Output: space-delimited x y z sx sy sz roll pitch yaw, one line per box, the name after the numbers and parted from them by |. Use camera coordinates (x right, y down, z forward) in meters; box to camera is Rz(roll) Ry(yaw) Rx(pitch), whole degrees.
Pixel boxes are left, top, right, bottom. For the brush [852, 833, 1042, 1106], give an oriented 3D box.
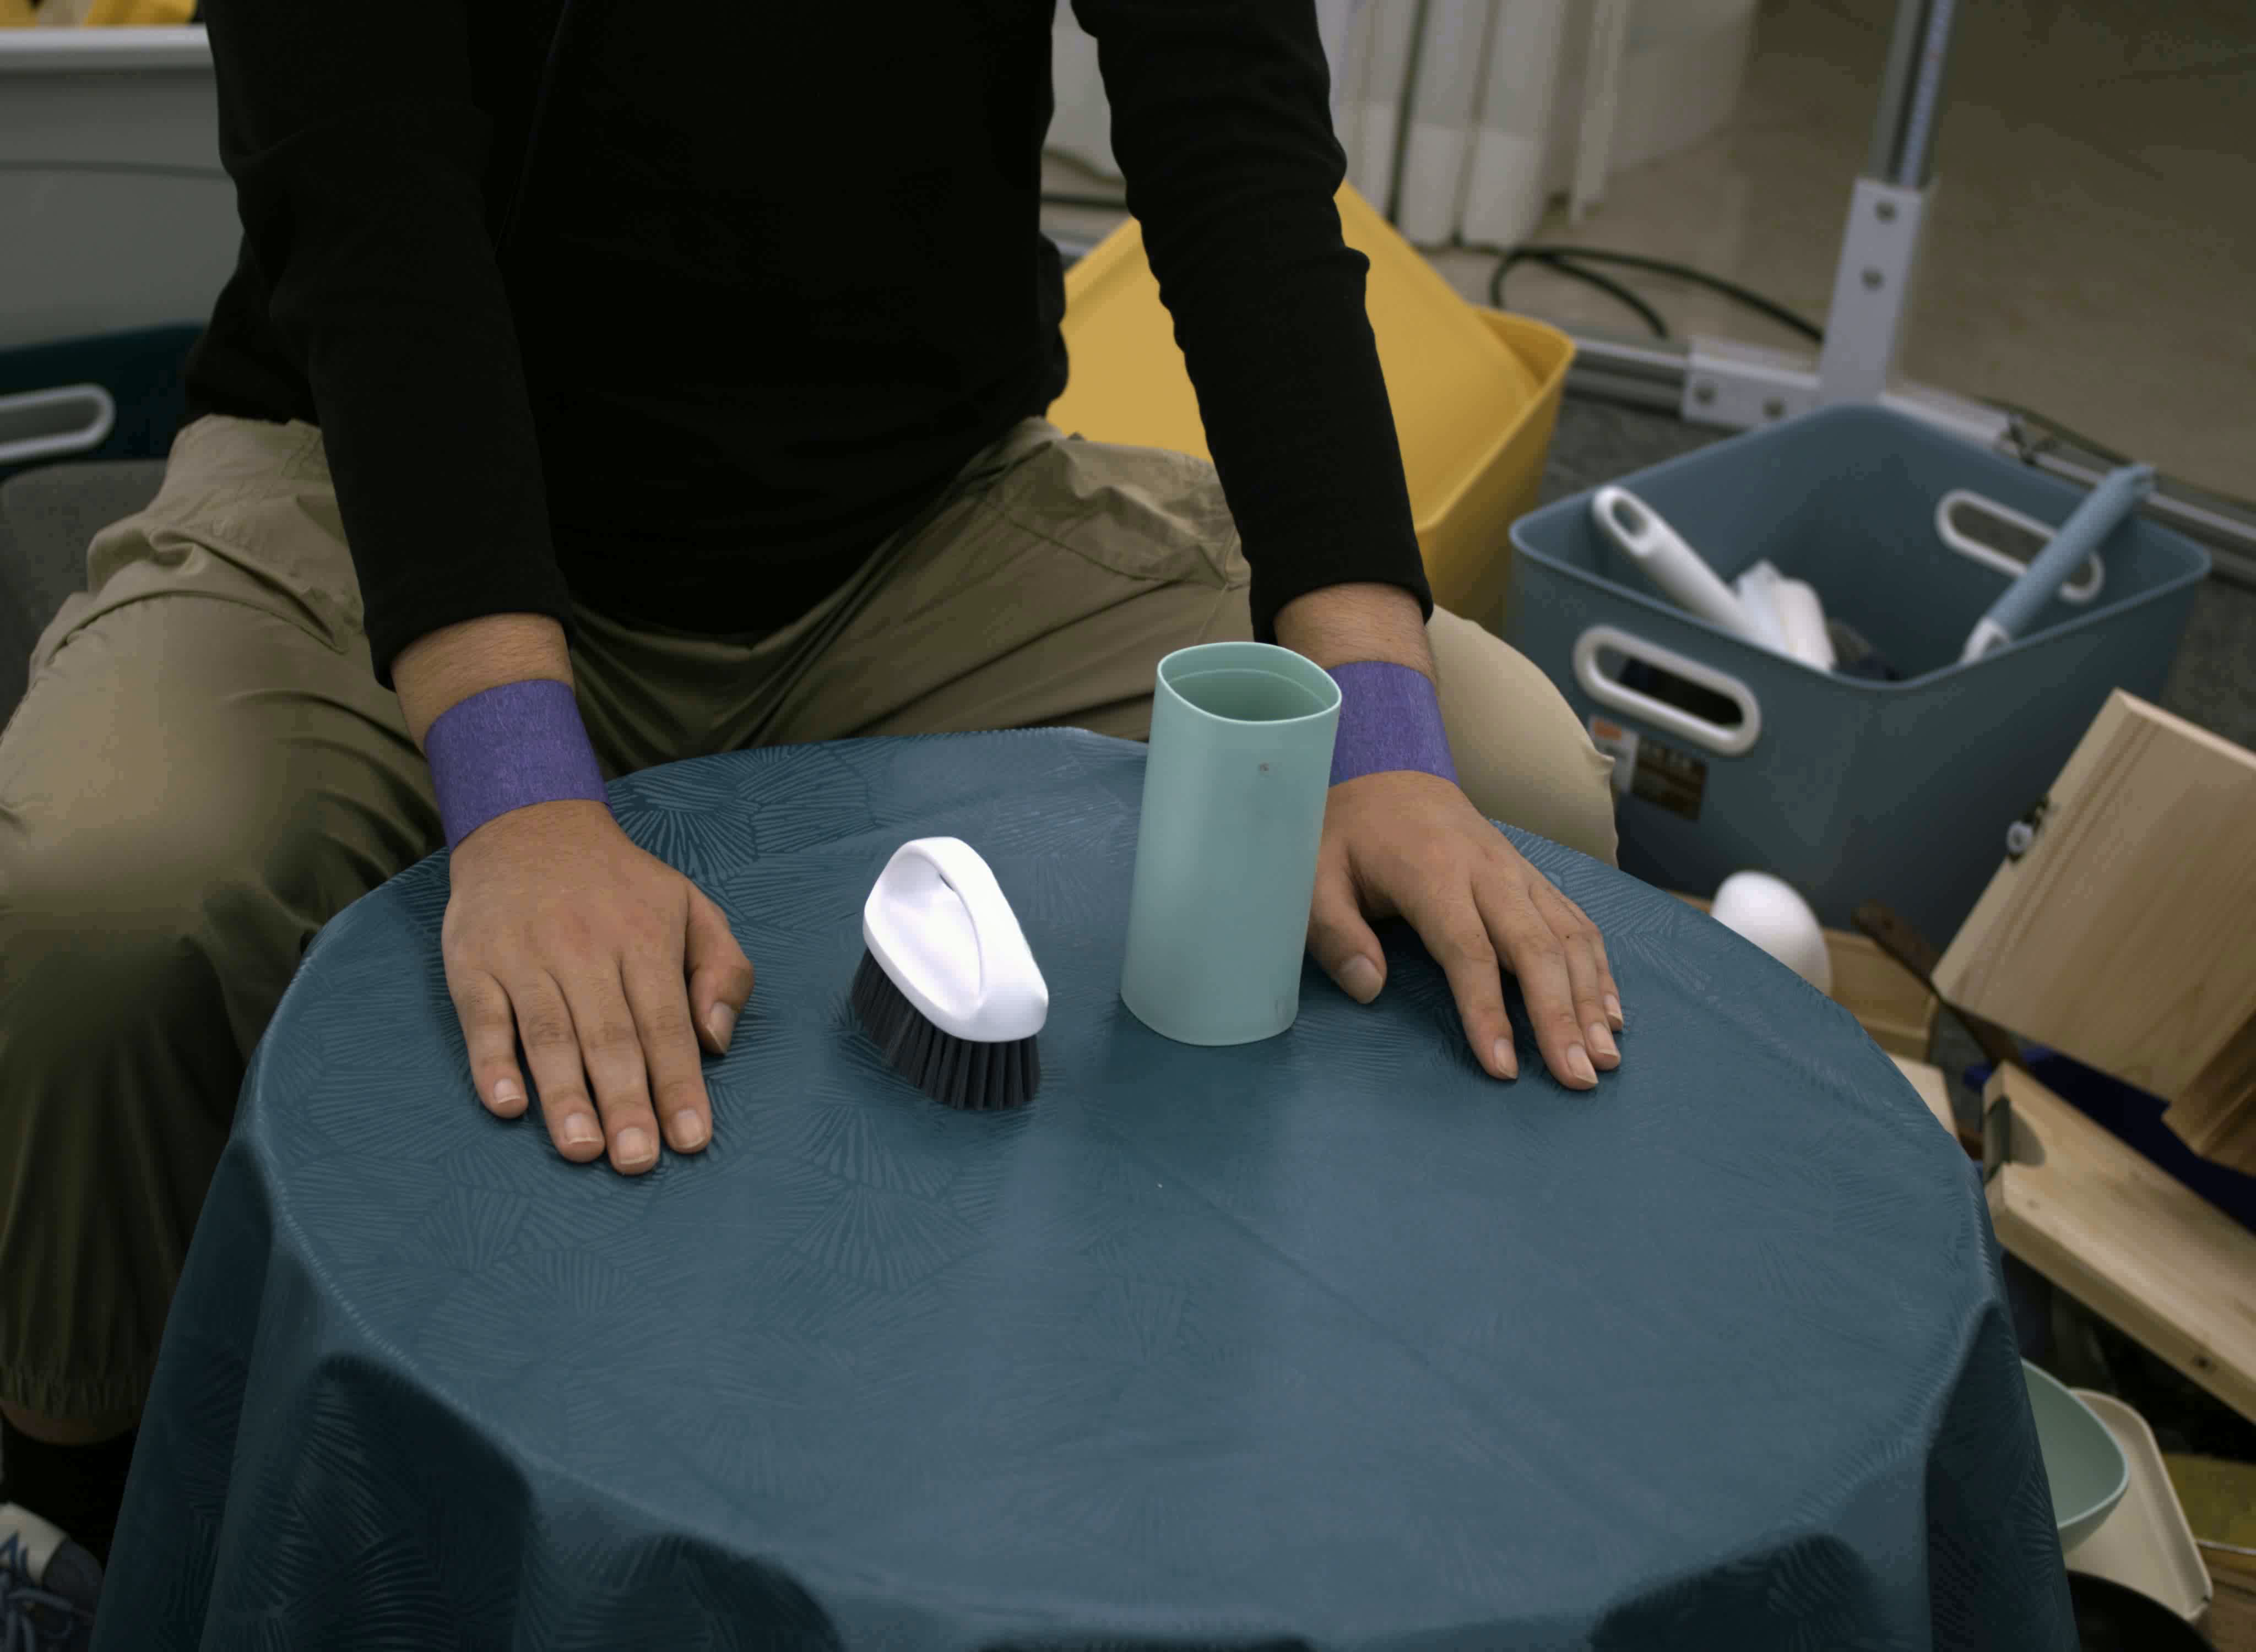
-0.062 0.043 1.863 0.050 0.072 0.100 -4 29 -23 | brush

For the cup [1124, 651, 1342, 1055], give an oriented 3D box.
0.035 0.010 1.897 0.066 0.132 0.067 5 27 -3 | cup
